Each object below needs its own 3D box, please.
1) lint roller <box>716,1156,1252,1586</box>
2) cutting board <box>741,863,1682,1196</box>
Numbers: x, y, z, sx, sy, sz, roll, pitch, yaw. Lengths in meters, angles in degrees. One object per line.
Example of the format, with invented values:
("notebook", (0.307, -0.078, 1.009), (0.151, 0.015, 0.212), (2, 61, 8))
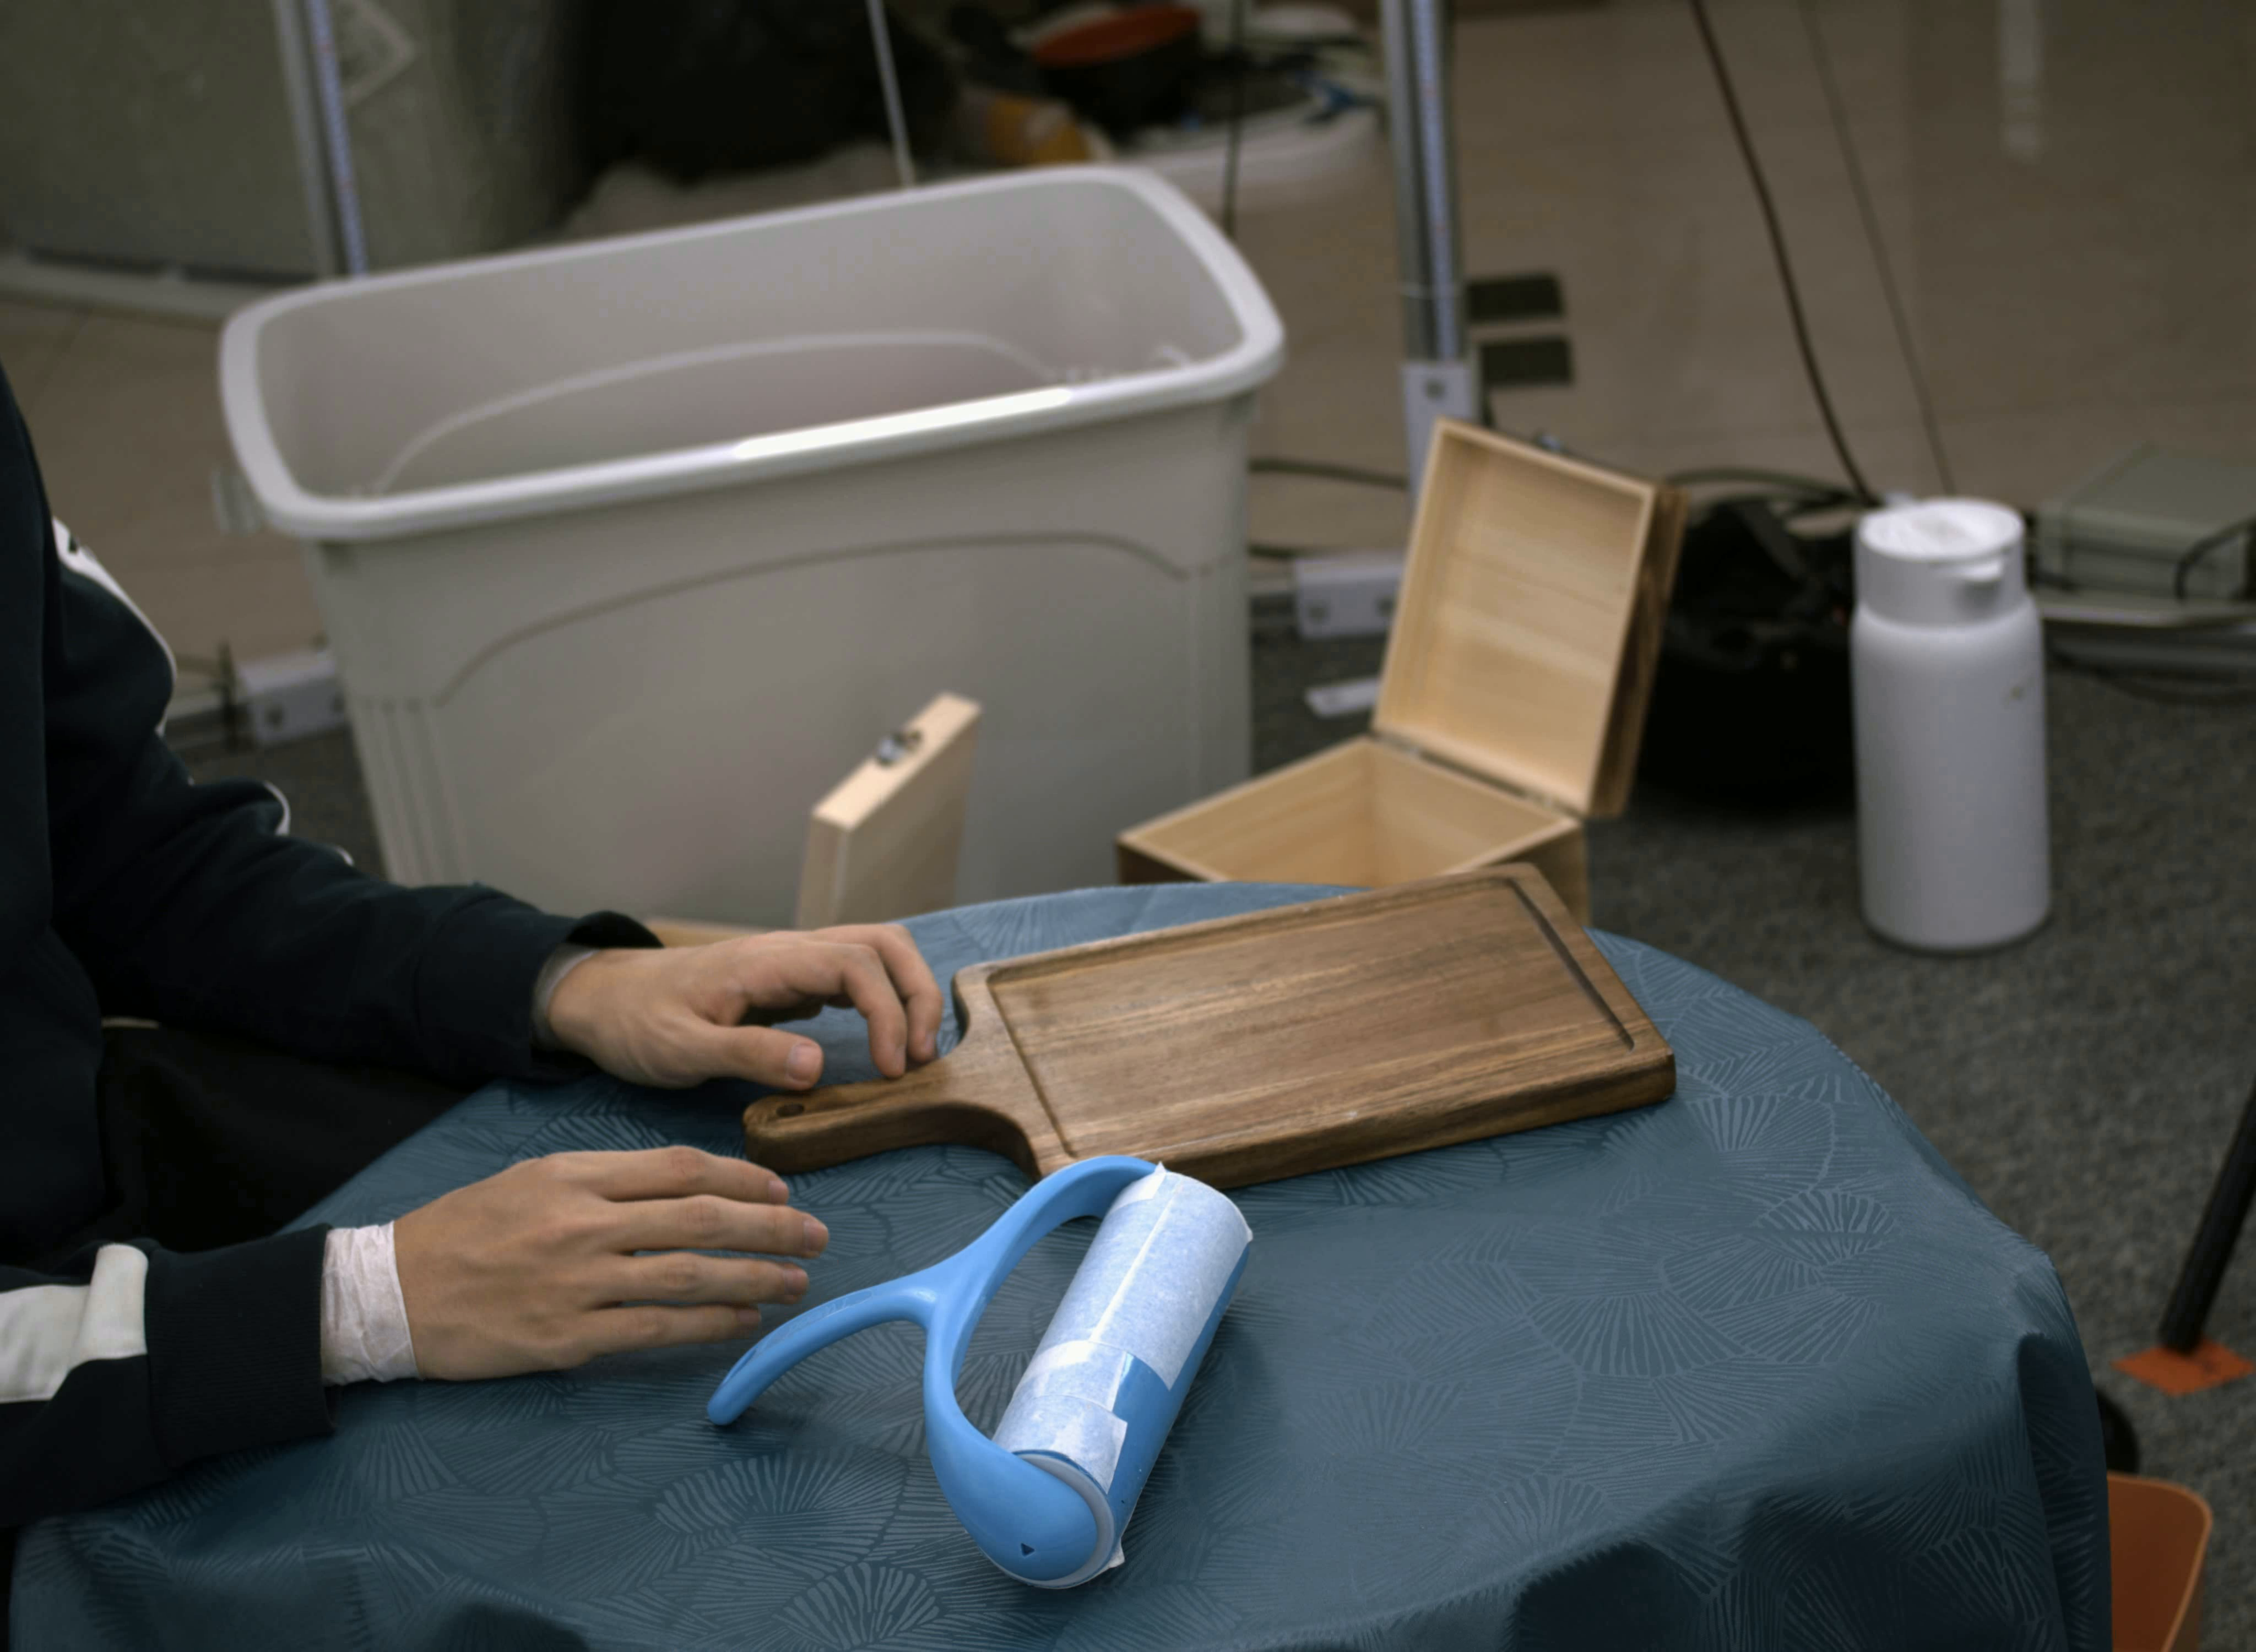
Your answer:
("lint roller", (-0.062, 0.188, 1.986), (0.180, 0.069, 0.225), (1, 28, 13))
("cutting board", (0.021, 0.090, 2.218), (0.351, 0.023, 0.198), (-11, 25, -10))
